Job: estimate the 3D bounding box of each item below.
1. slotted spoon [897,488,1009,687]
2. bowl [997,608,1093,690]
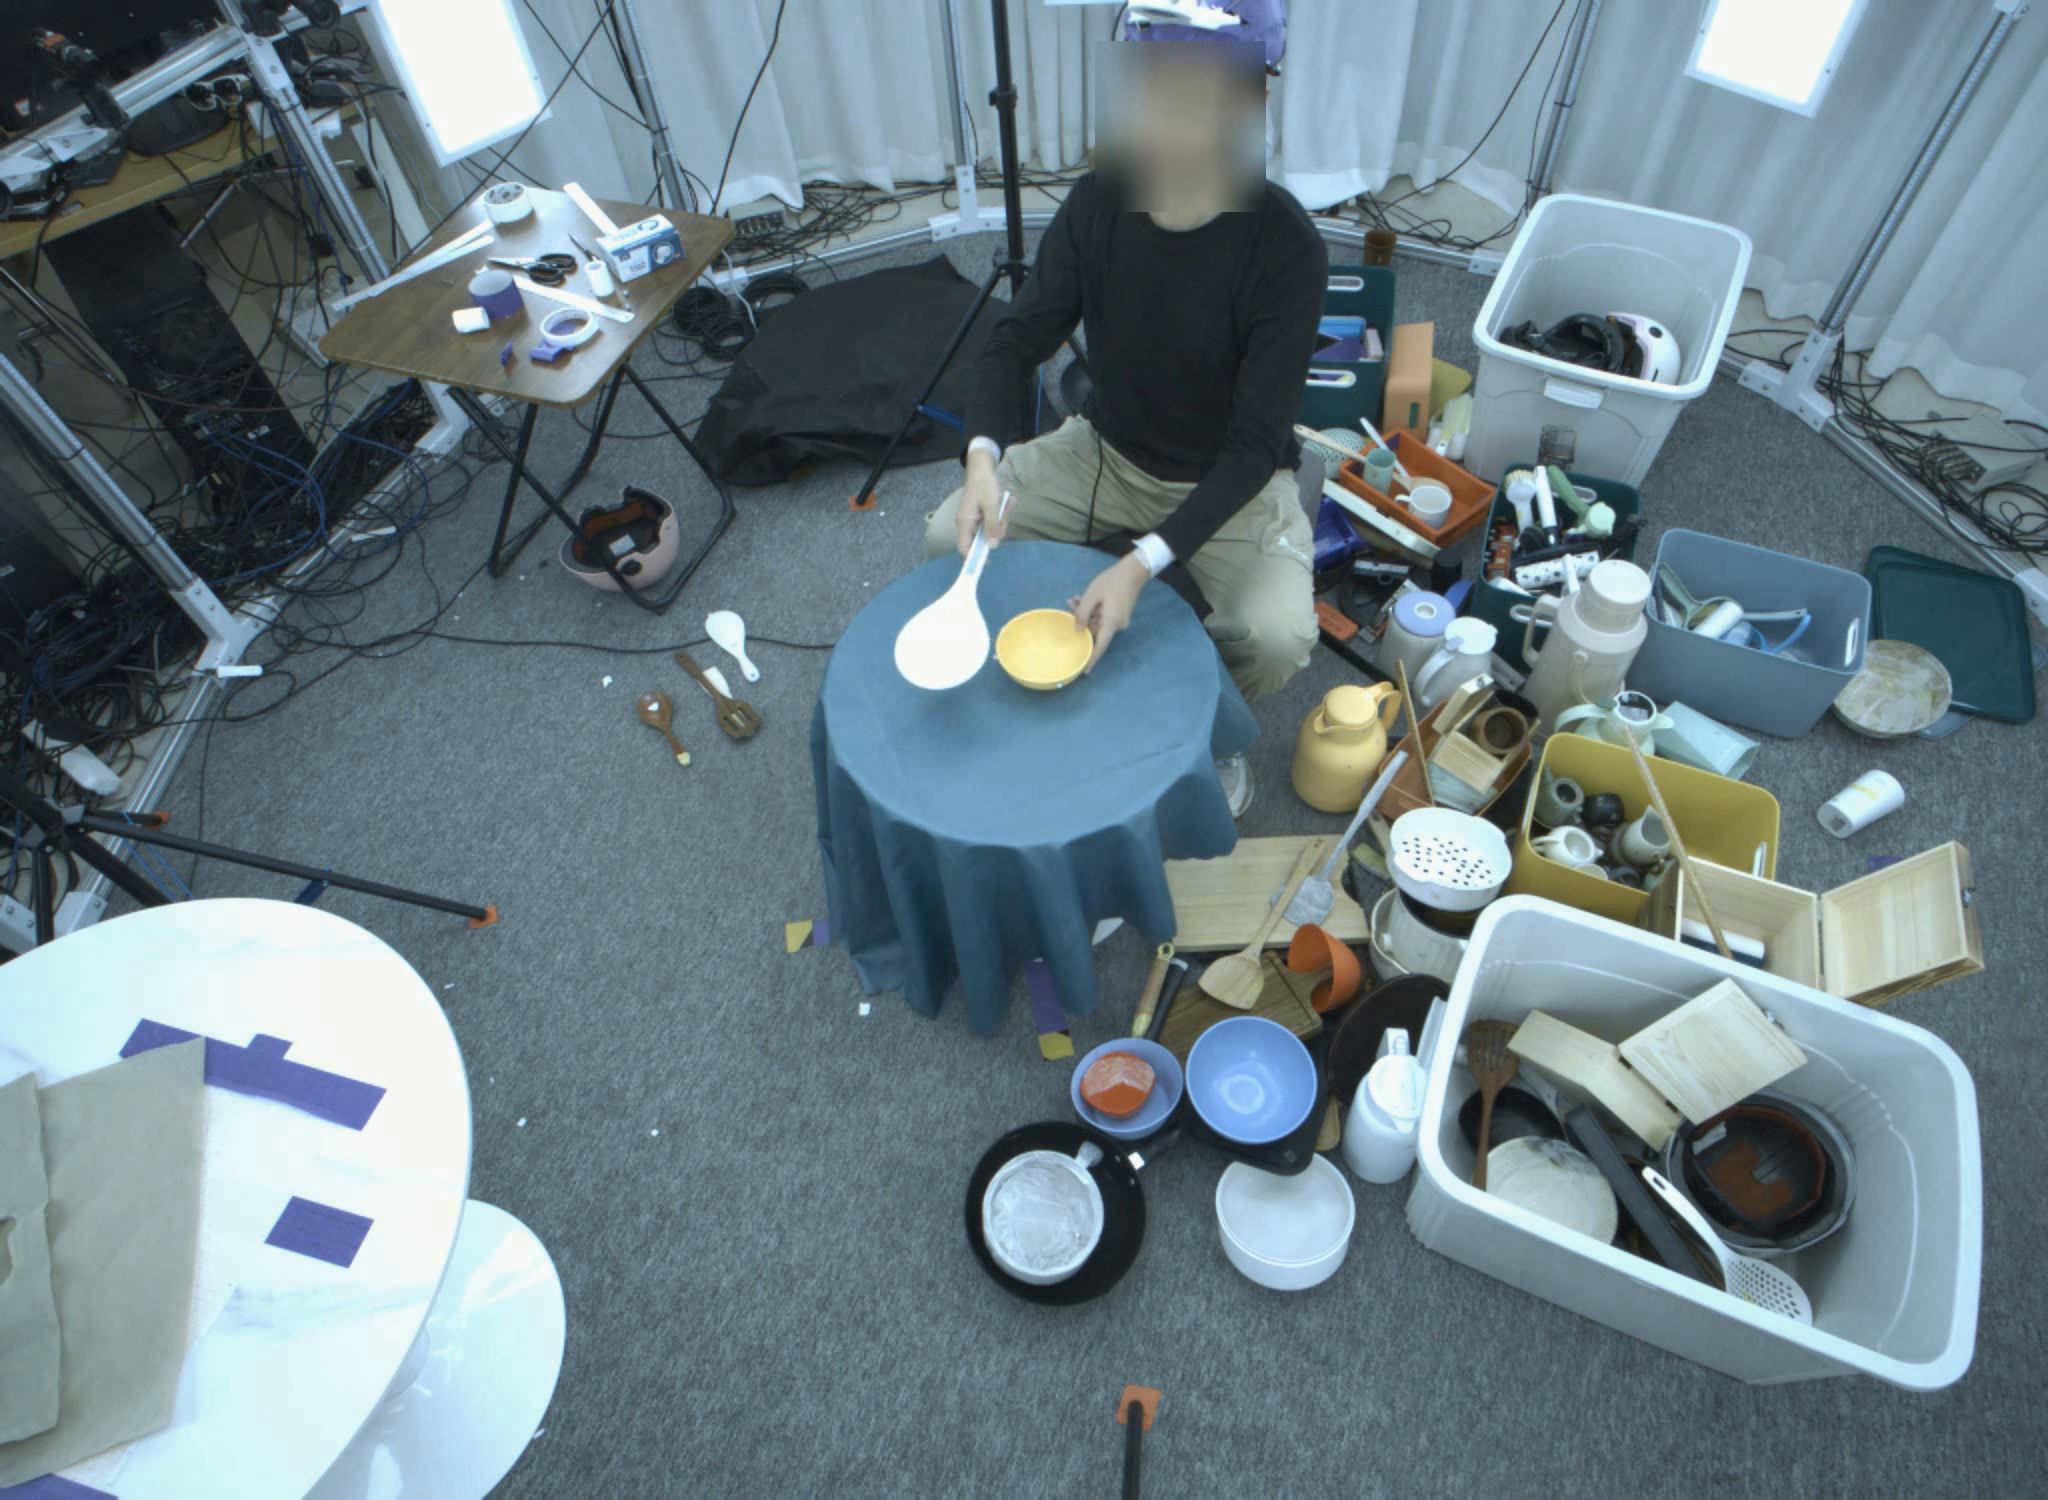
[{"bbox_3d":[-0.085,-0.243,1.799,0.135,0.046,0.349,12,72,13],"label":"slotted spoon"},{"bbox_3d":[0.031,-0.140,1.853,0.145,0.060,0.144,1,56,0],"label":"bowl"}]
